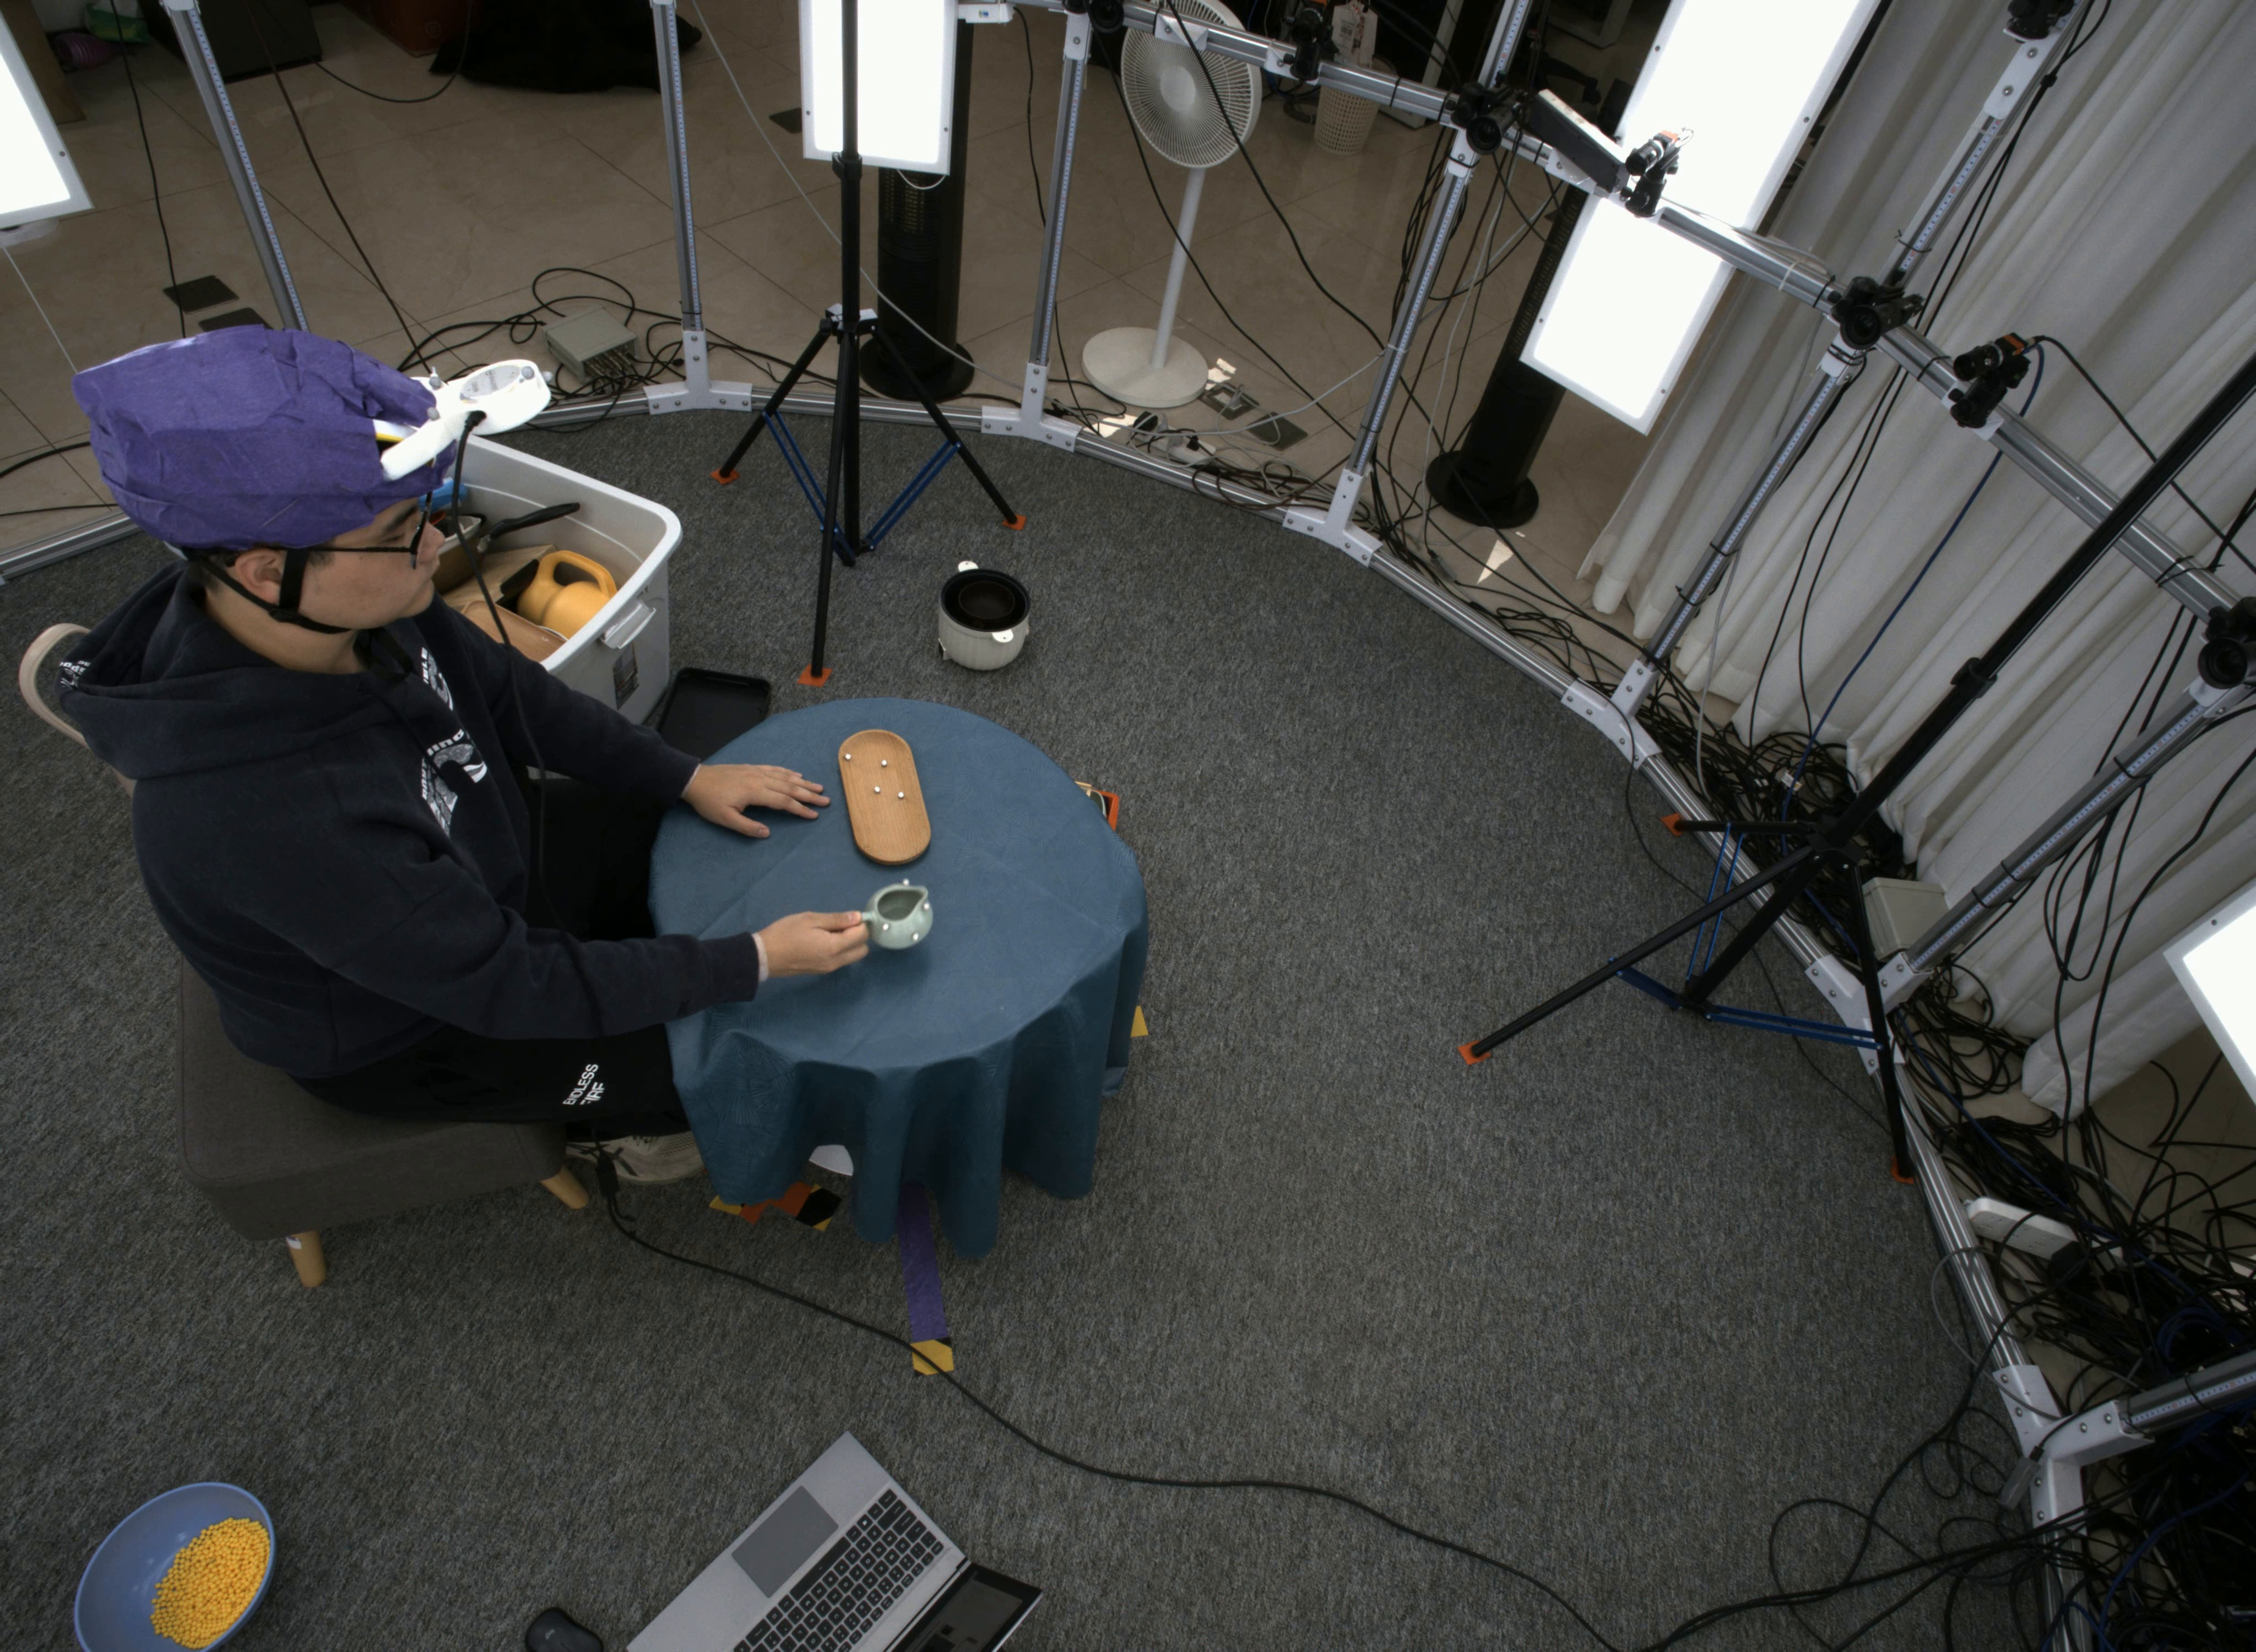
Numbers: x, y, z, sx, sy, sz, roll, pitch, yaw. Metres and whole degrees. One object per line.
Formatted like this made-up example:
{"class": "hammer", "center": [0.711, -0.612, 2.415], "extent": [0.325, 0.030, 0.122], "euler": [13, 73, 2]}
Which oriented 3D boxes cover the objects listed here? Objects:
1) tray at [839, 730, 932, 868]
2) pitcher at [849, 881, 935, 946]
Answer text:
{"class": "tray", "center": [-0.331, -0.039, 1.763], "extent": [0.102, 0.021, 0.226], "euler": [-9, 59, -18]}
{"class": "pitcher", "center": [-0.289, 0.107, 1.588], "extent": [0.108, 0.062, 0.084], "euler": [-28, 64, -20]}
